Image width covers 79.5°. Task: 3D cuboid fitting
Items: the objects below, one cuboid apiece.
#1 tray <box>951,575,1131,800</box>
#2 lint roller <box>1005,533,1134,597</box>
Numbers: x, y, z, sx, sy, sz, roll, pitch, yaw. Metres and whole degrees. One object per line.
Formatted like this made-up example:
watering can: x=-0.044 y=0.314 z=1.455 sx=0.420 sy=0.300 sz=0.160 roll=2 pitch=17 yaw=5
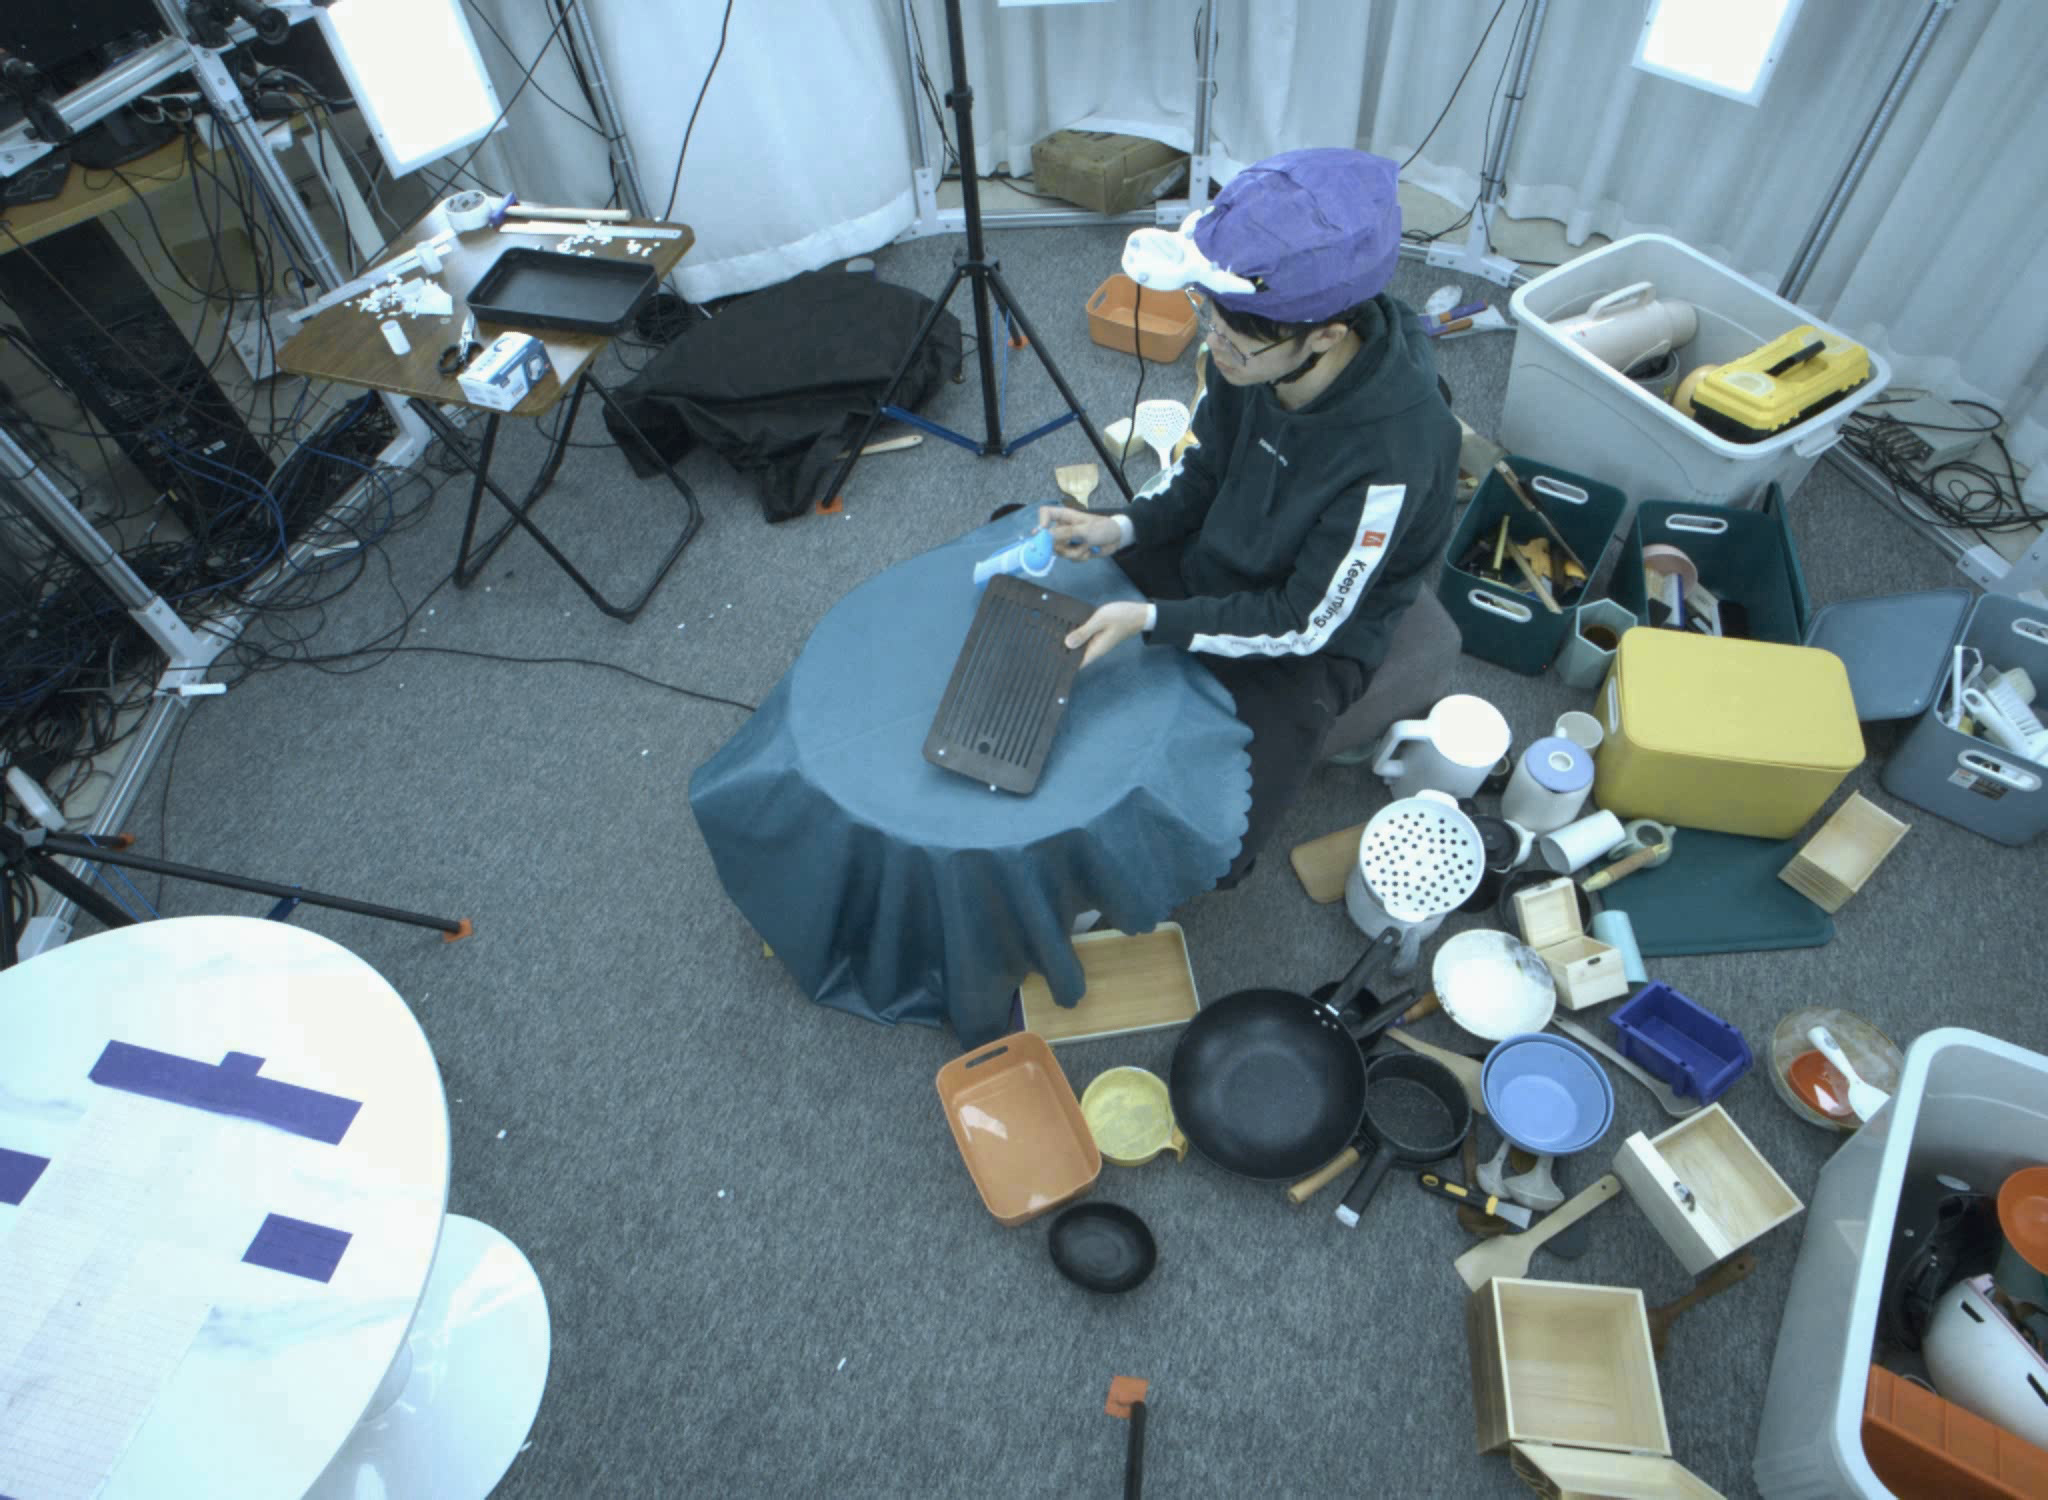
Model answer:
tray: x=0.026 y=-0.092 z=1.765 sx=0.170 sy=0.018 sz=0.305 roll=21 pitch=77 yaw=2
lint roller: x=0.080 y=-0.293 z=1.876 sx=0.182 sy=0.225 sz=0.068 roll=-24 pitch=96 yaw=-24
